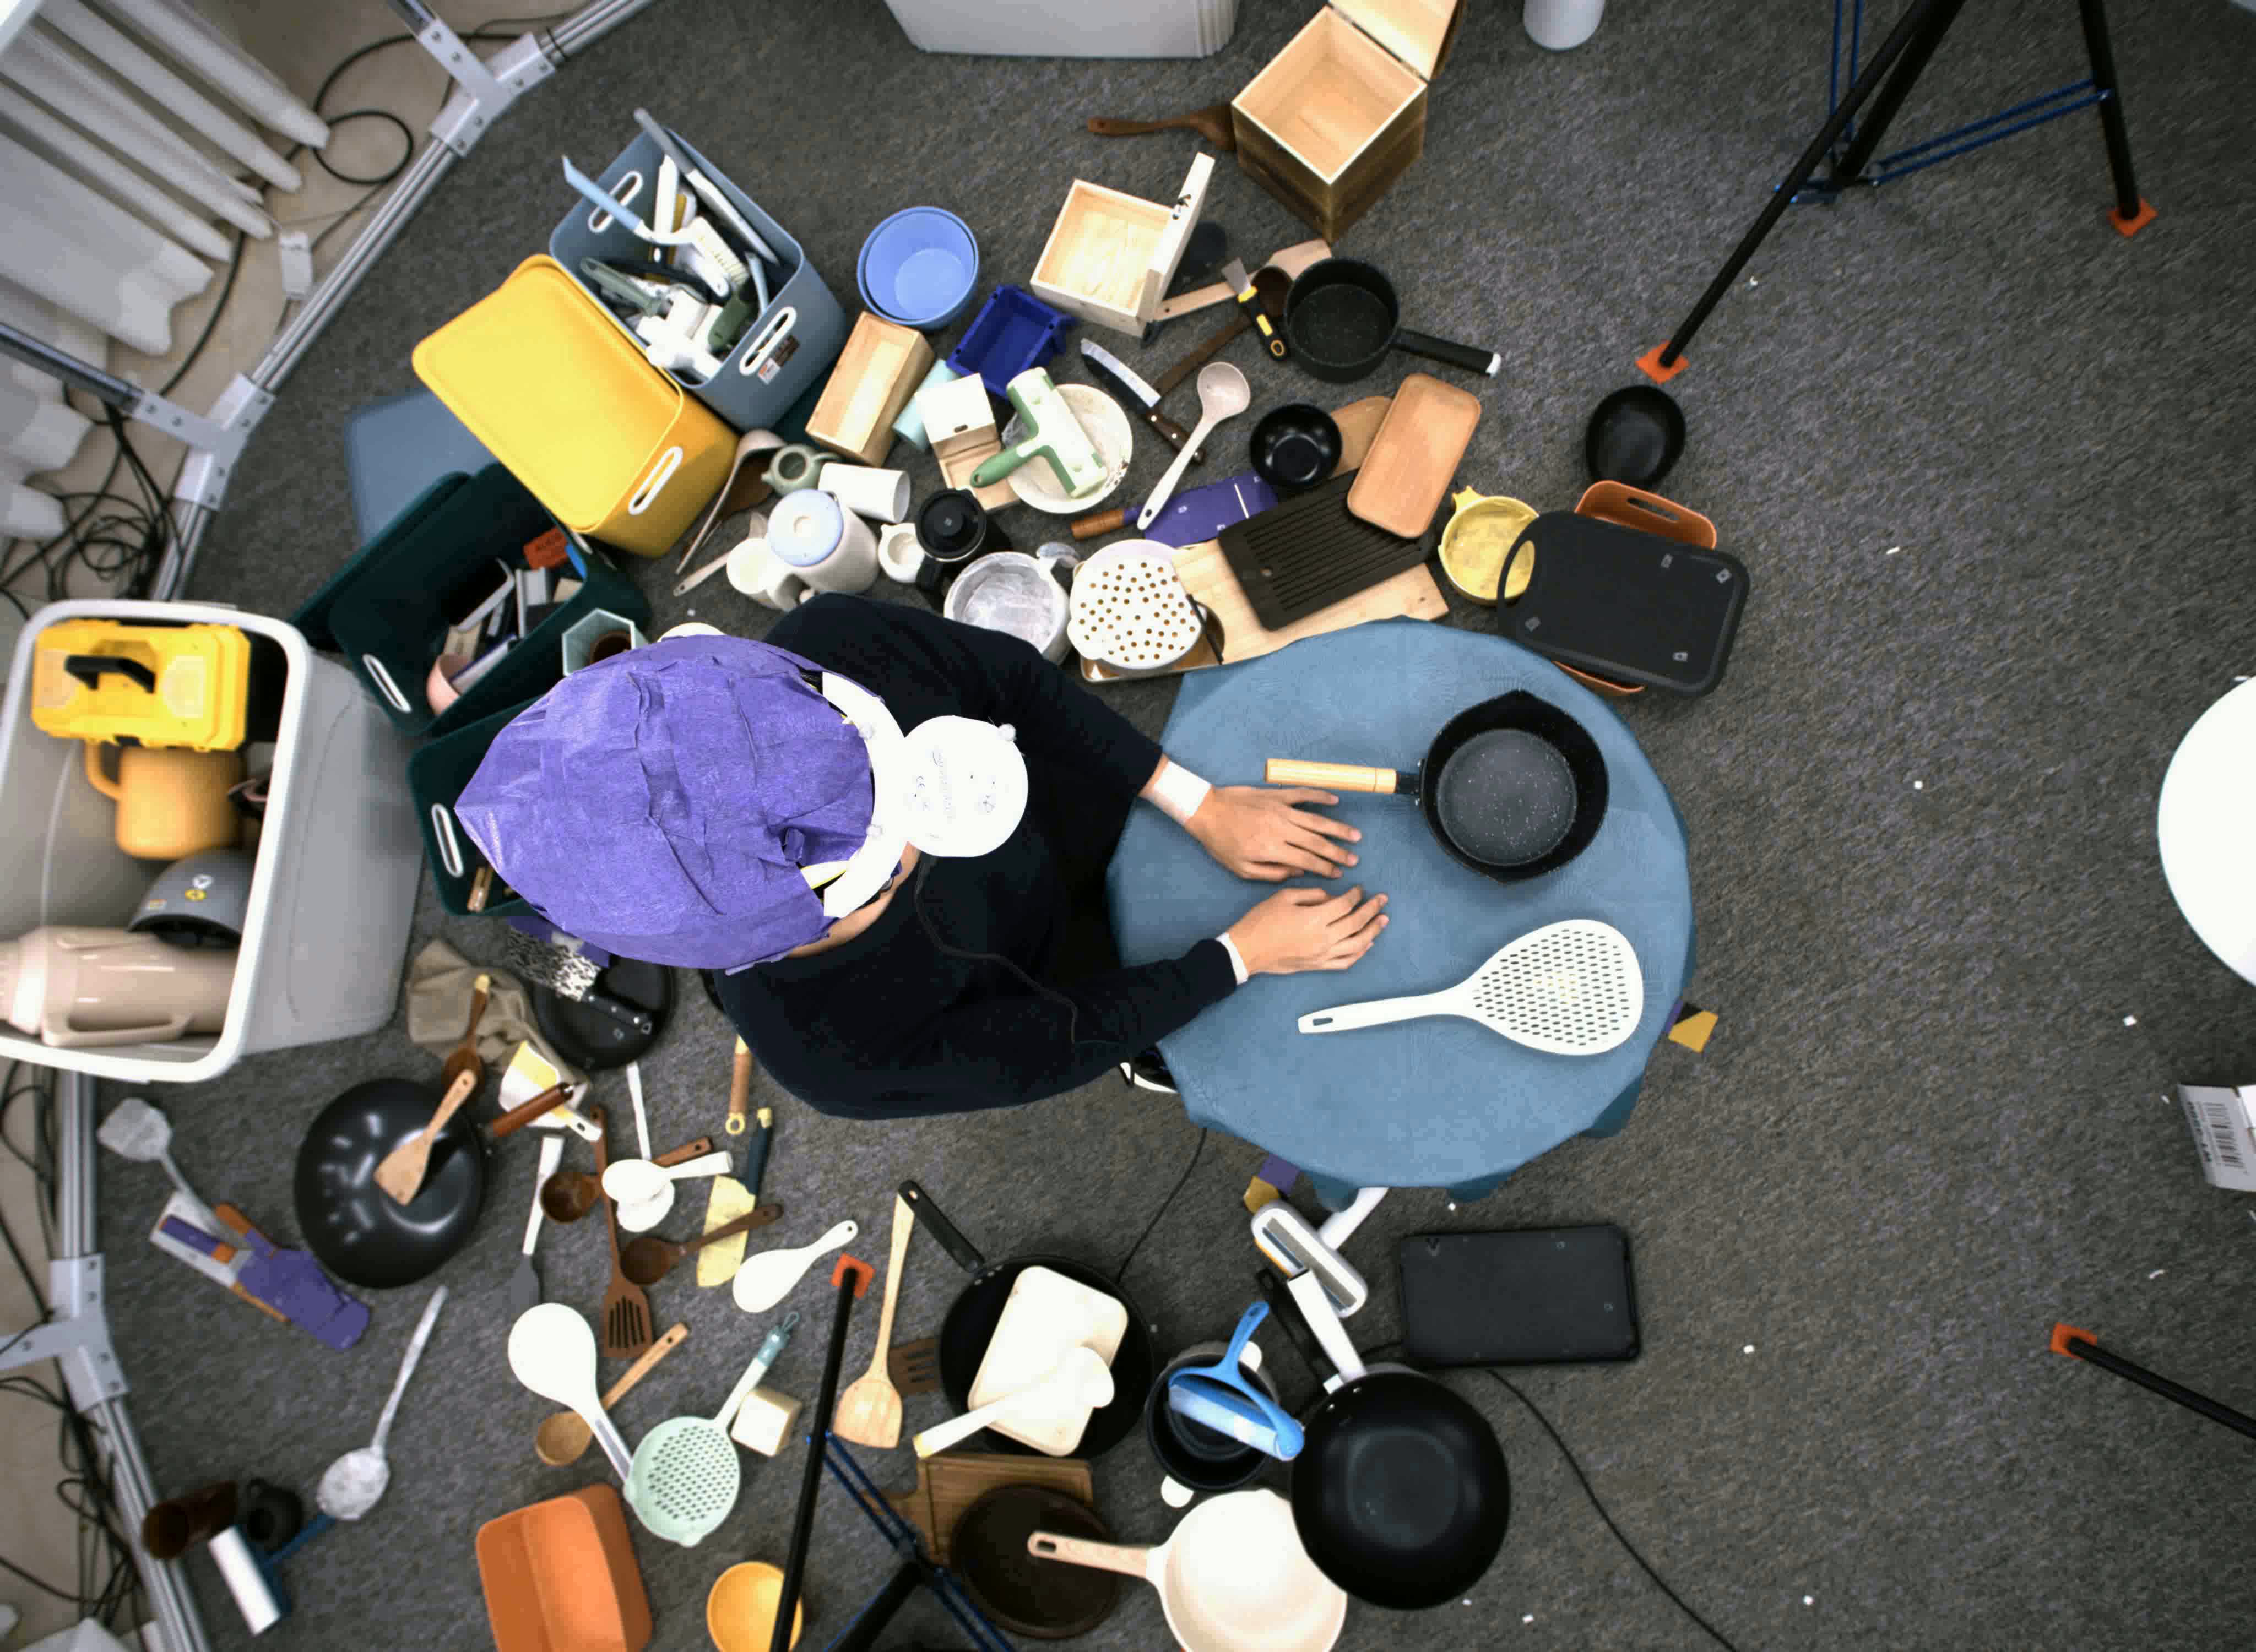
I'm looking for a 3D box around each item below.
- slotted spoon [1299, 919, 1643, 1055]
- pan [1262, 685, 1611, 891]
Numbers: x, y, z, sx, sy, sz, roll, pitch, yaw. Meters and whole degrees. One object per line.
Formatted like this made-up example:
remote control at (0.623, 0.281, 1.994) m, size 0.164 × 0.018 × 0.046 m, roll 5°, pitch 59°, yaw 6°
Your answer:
slotted spoon at (0.347, 0.180, 1.418) m, size 0.349 × 0.050 × 0.136 m, roll -10°, pitch 86°, yaw 8°
pan at (0.310, -0.041, 1.404) m, size 0.344 × 0.108 × 0.207 m, roll 3°, pitch 88°, yaw 9°
